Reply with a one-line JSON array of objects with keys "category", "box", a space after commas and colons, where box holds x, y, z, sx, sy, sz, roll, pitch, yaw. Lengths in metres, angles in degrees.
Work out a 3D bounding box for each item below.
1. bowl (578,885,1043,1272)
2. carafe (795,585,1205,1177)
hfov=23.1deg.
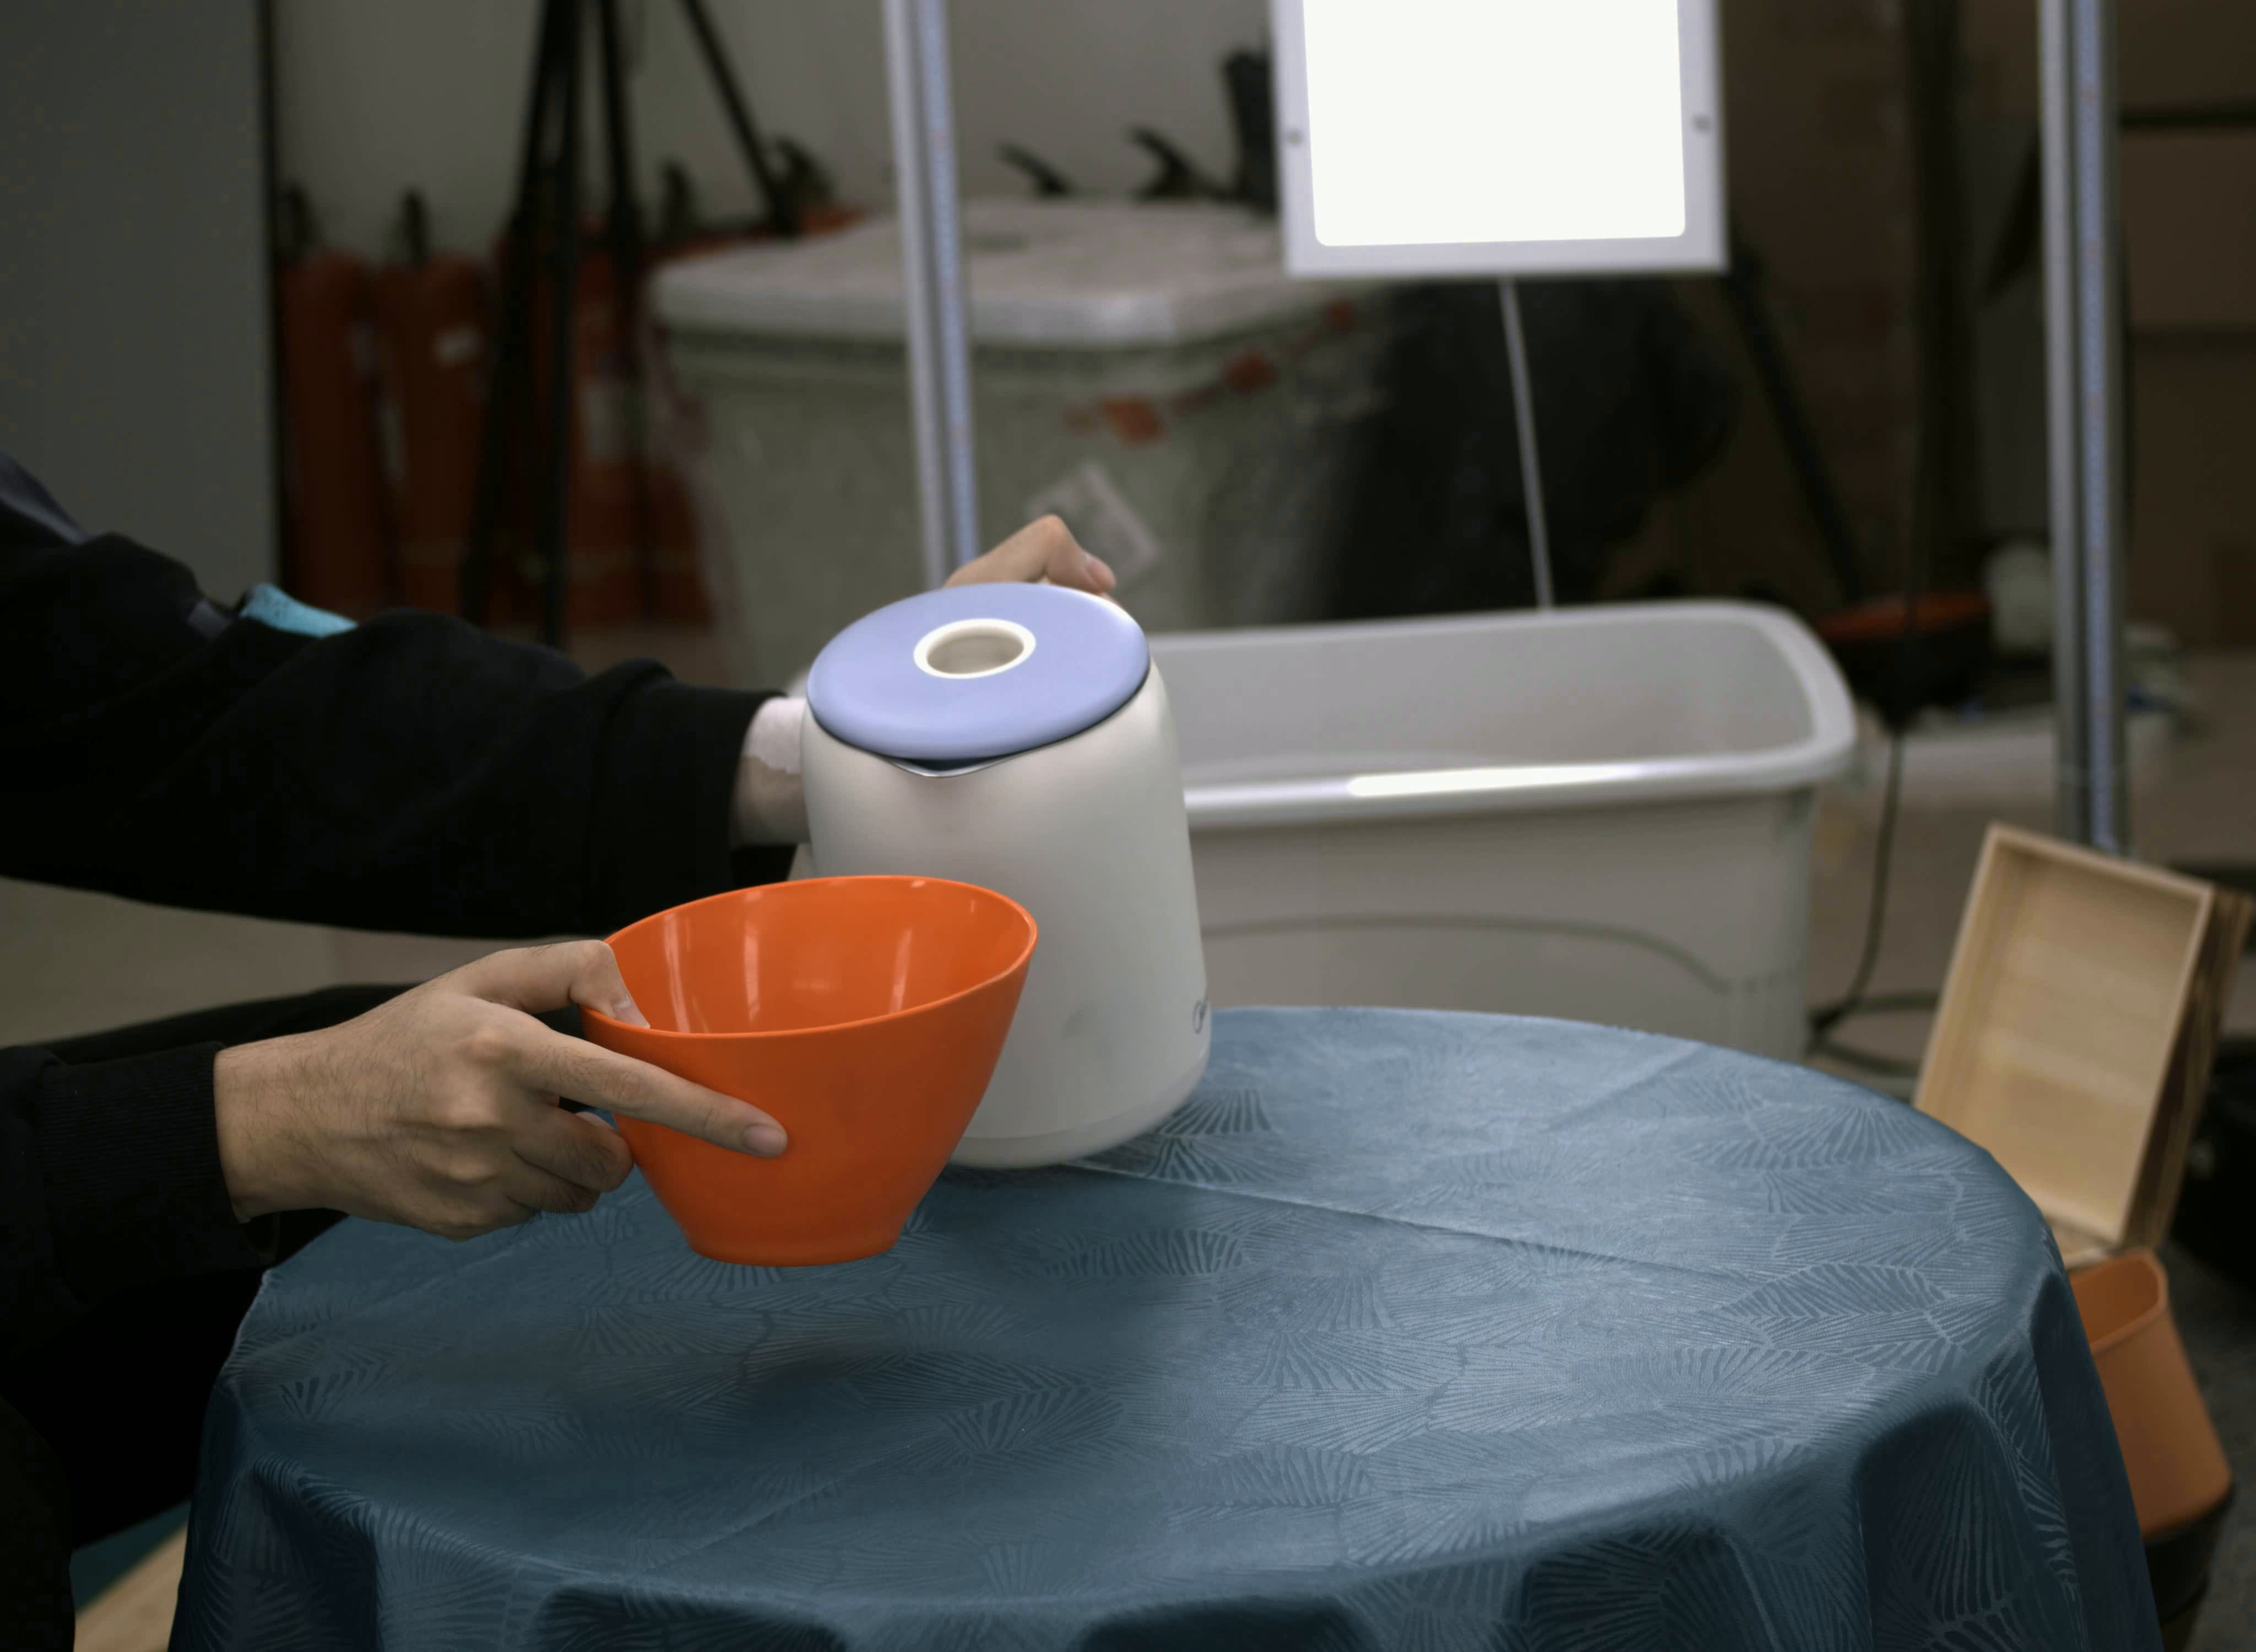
[{"category": "bowl", "box": [-0.100, 0.082, 1.745, 0.147, 0.105, 0.148, -1, 9, -1]}, {"category": "carafe", "box": [-0.041, 0.007, 1.936, 0.133, 0.183, 0.189, -1, 27, 10]}]
